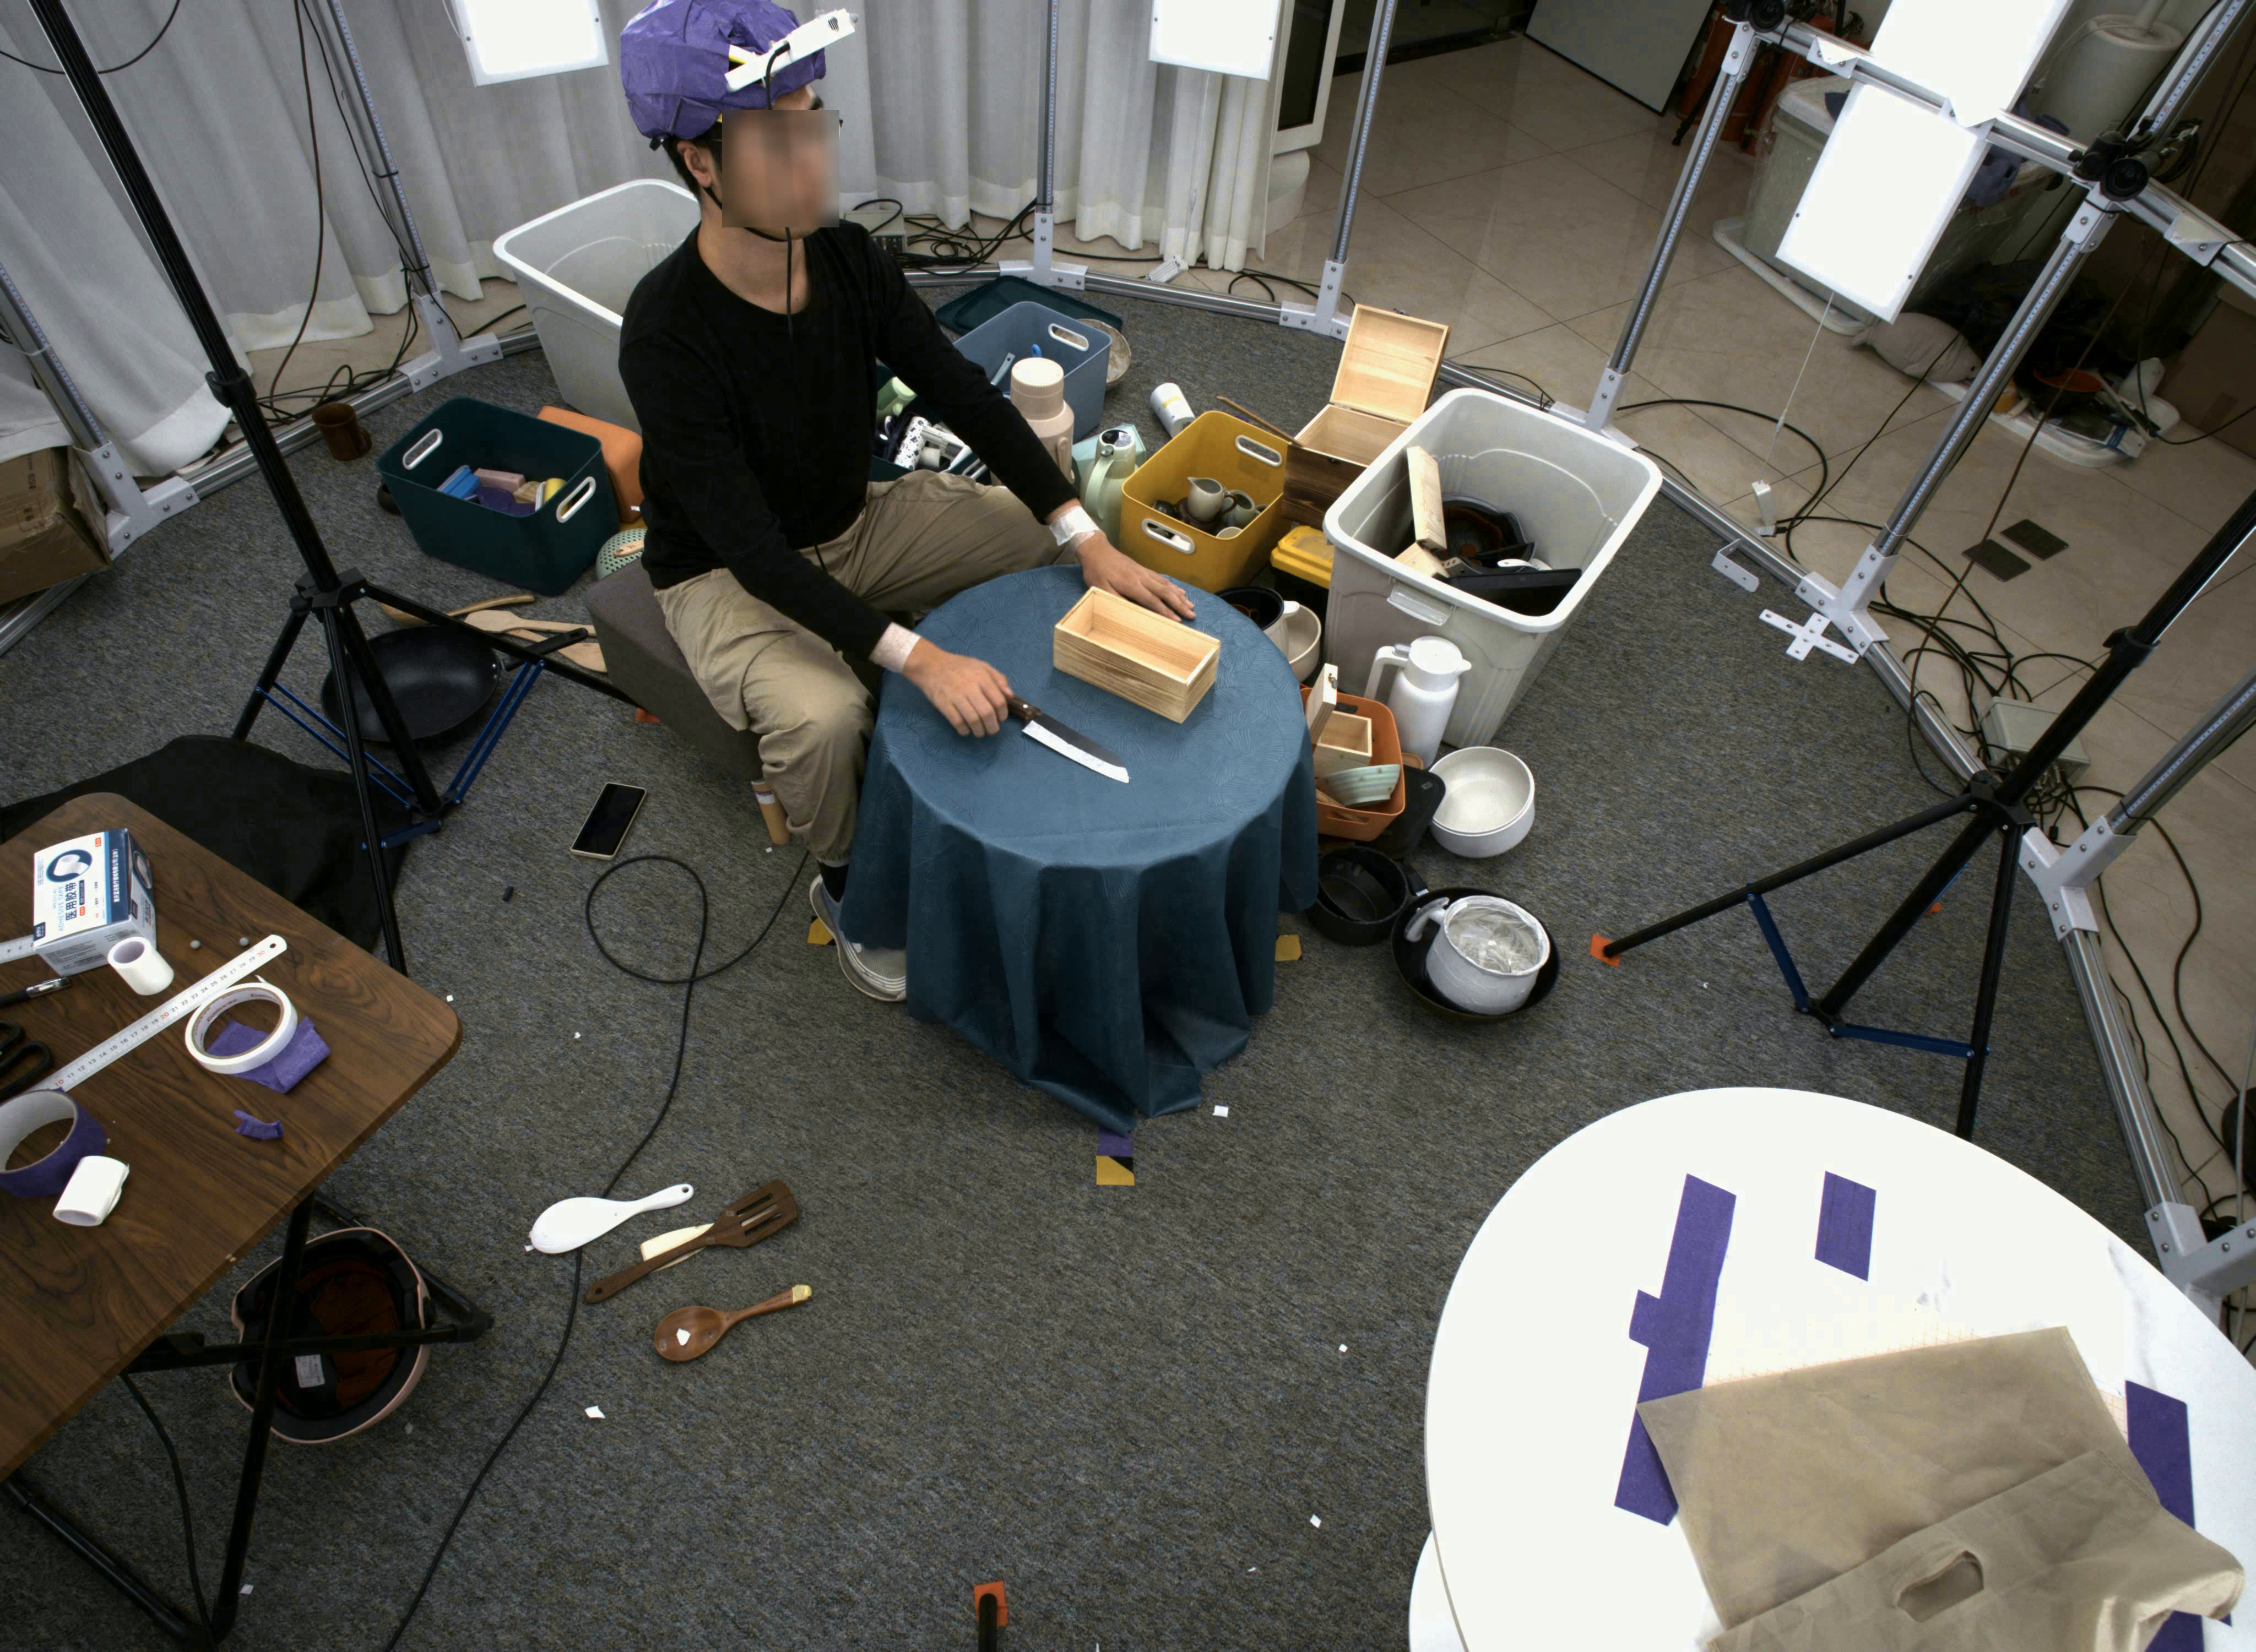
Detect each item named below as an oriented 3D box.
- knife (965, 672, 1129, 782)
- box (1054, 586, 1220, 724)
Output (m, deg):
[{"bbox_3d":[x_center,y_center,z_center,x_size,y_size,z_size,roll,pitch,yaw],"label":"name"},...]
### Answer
[{"bbox_3d":[-0.114,-0.136,1.771,0.292,0.019,0.051,33,59,19],"label":"knife"},{"bbox_3d":[0.011,-0.246,1.833,0.213,0.078,0.109,26,52,17],"label":"box"}]
